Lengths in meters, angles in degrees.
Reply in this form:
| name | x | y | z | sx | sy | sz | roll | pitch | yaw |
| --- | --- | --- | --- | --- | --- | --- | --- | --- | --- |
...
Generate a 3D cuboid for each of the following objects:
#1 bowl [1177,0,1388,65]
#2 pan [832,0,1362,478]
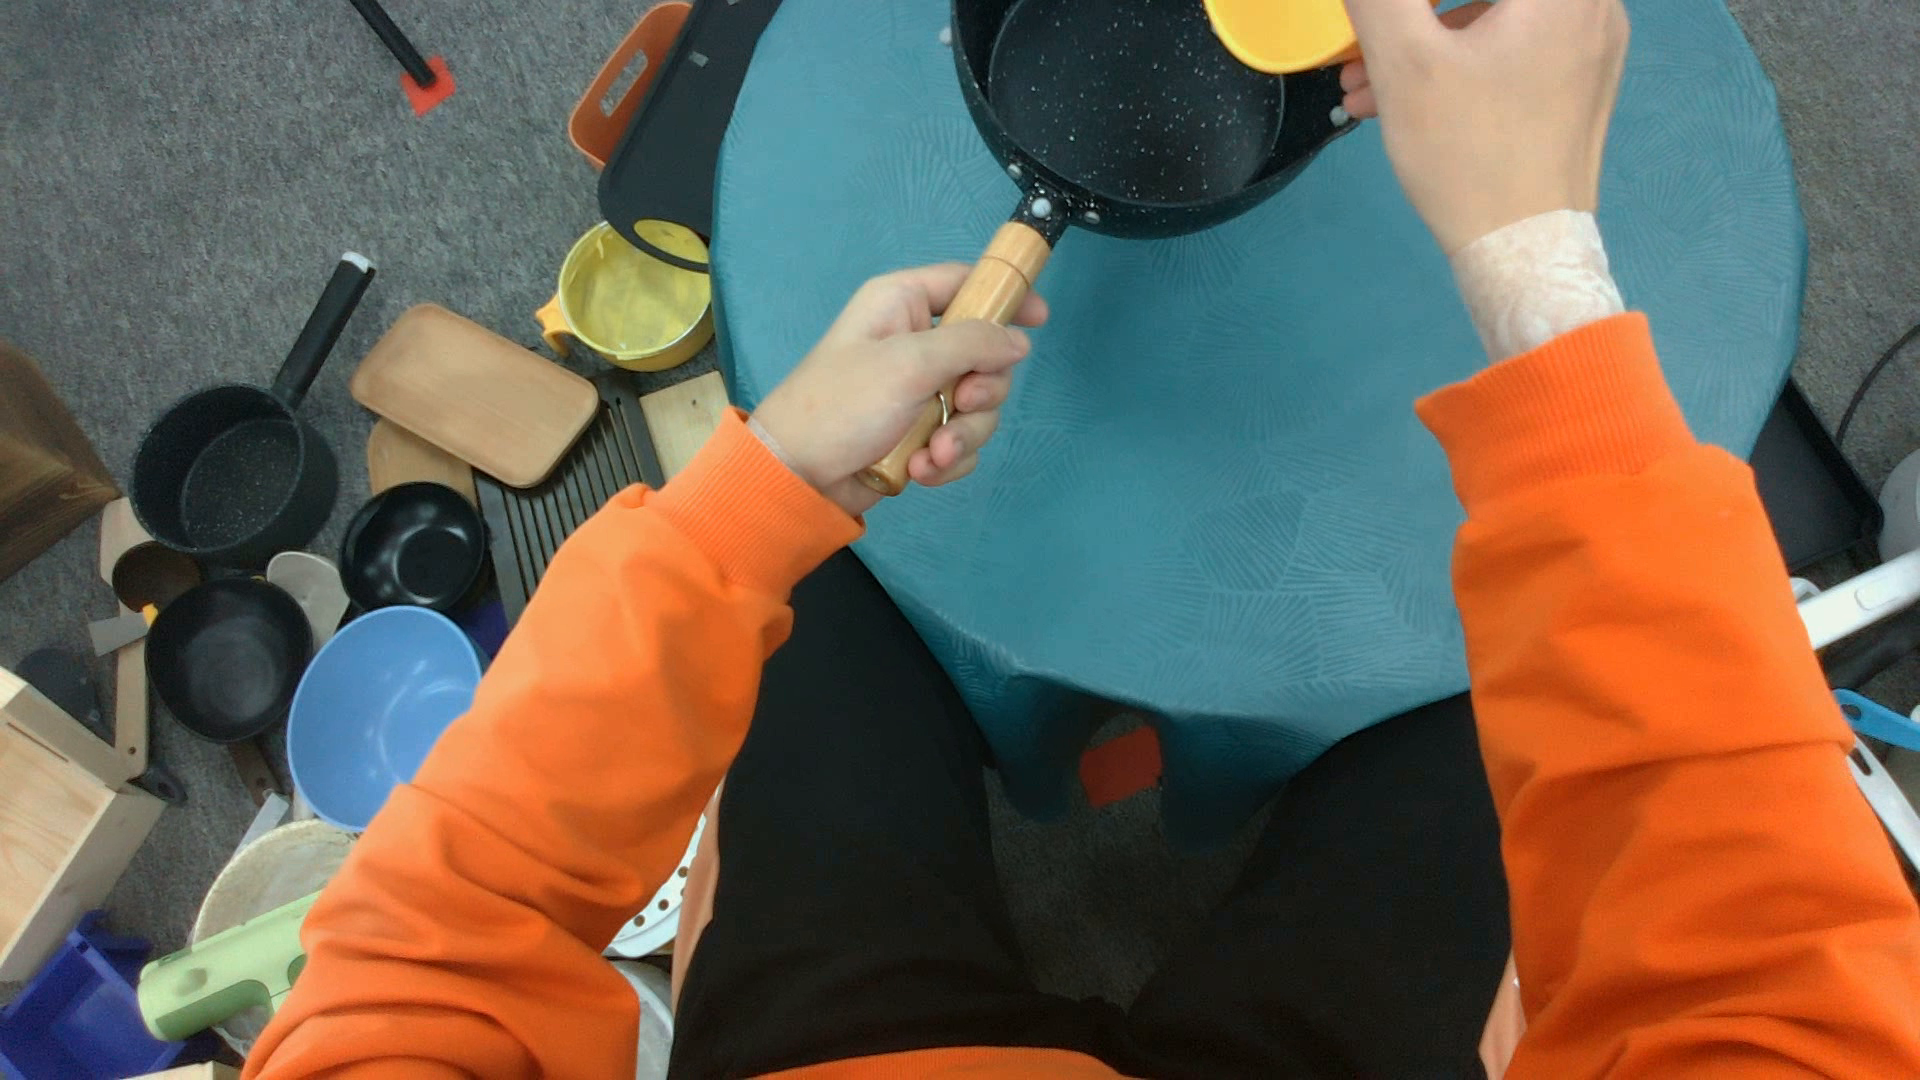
| name | x | y | z | sx | sy | sz | roll | pitch | yaw |
| --- | --- | --- | --- | --- | --- | --- | --- | --- | --- |
| bowl | 0.141 | -0.250 | 0.517 | 0.060 | 0.144 | 0.145 | 0 | 71 | -25 |
| pan | 0.044 | -0.166 | 0.617 | 0.207 | 0.108 | 0.343 | 30 | 81 | 0 |
